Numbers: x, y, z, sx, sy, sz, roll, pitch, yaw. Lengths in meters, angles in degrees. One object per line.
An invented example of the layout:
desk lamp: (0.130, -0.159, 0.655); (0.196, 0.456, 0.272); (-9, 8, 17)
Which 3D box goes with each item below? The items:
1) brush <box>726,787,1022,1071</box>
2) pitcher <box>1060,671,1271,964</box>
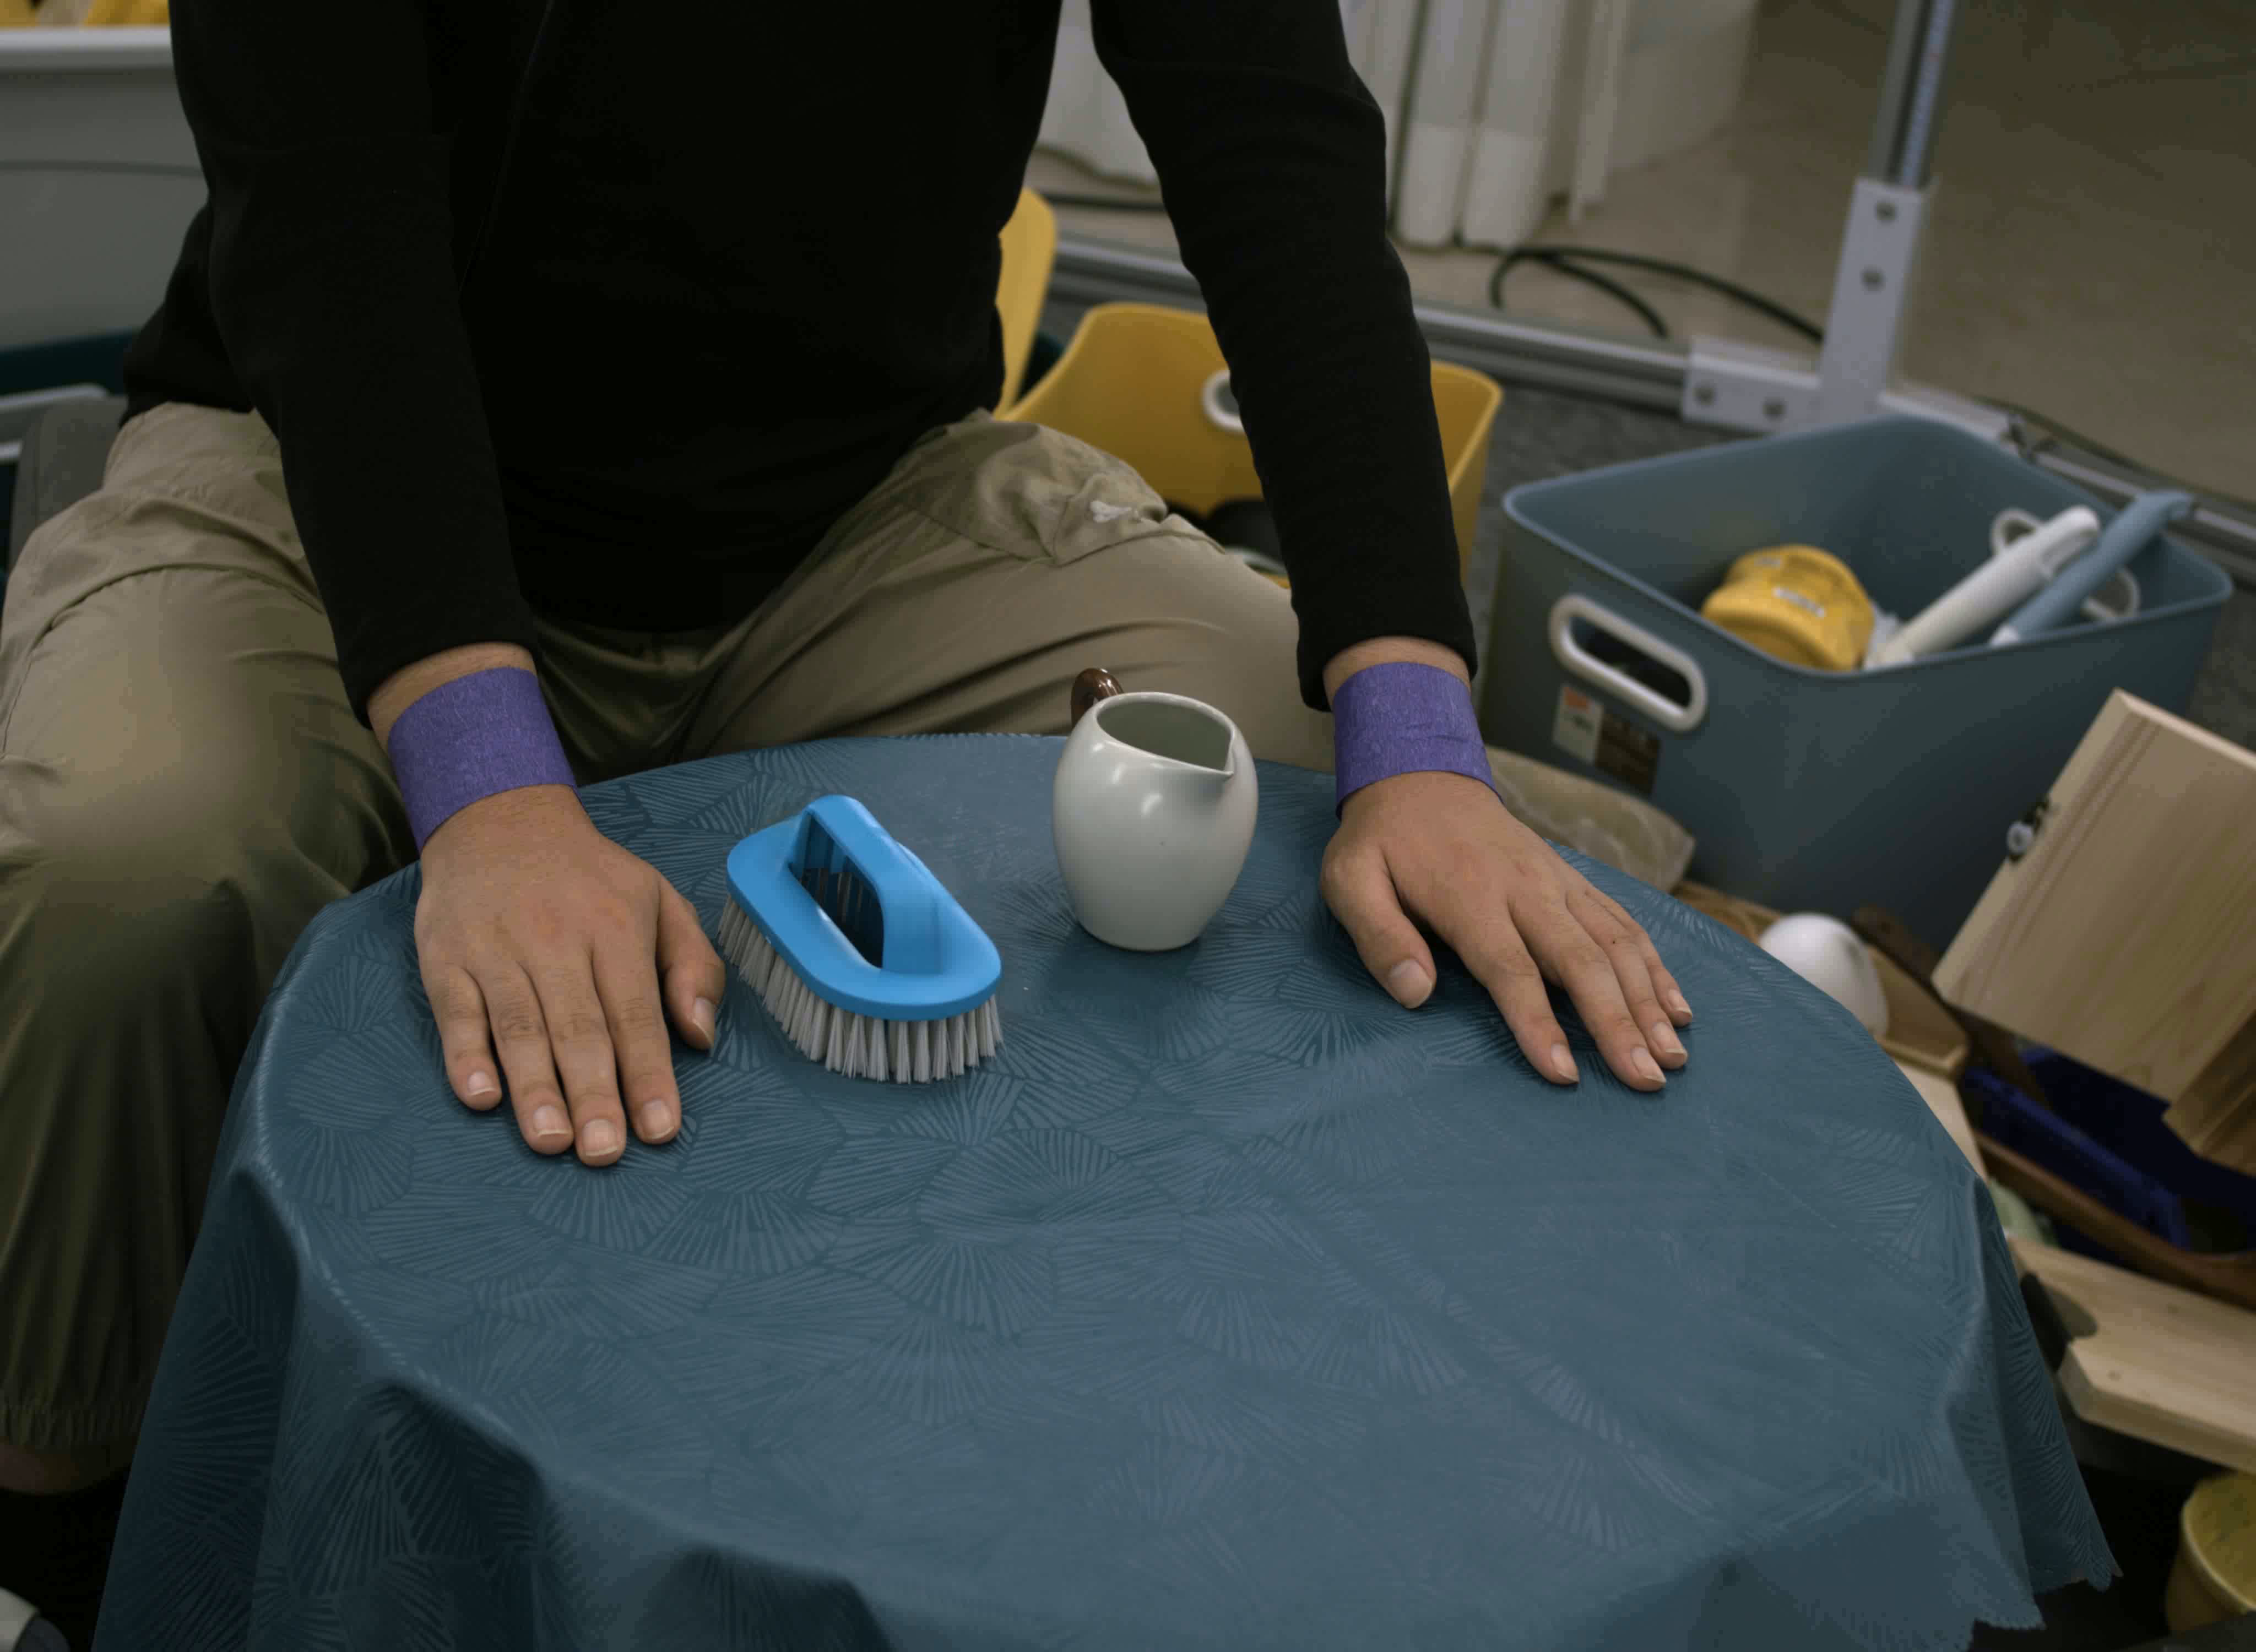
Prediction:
brush: (-0.092, 0.028, 1.895); (0.084, 0.063, 0.143); (-11, 30, -22)
pitcher: (0.009, -0.002, 1.953); (0.075, 0.087, 0.120); (0, 30, -25)
